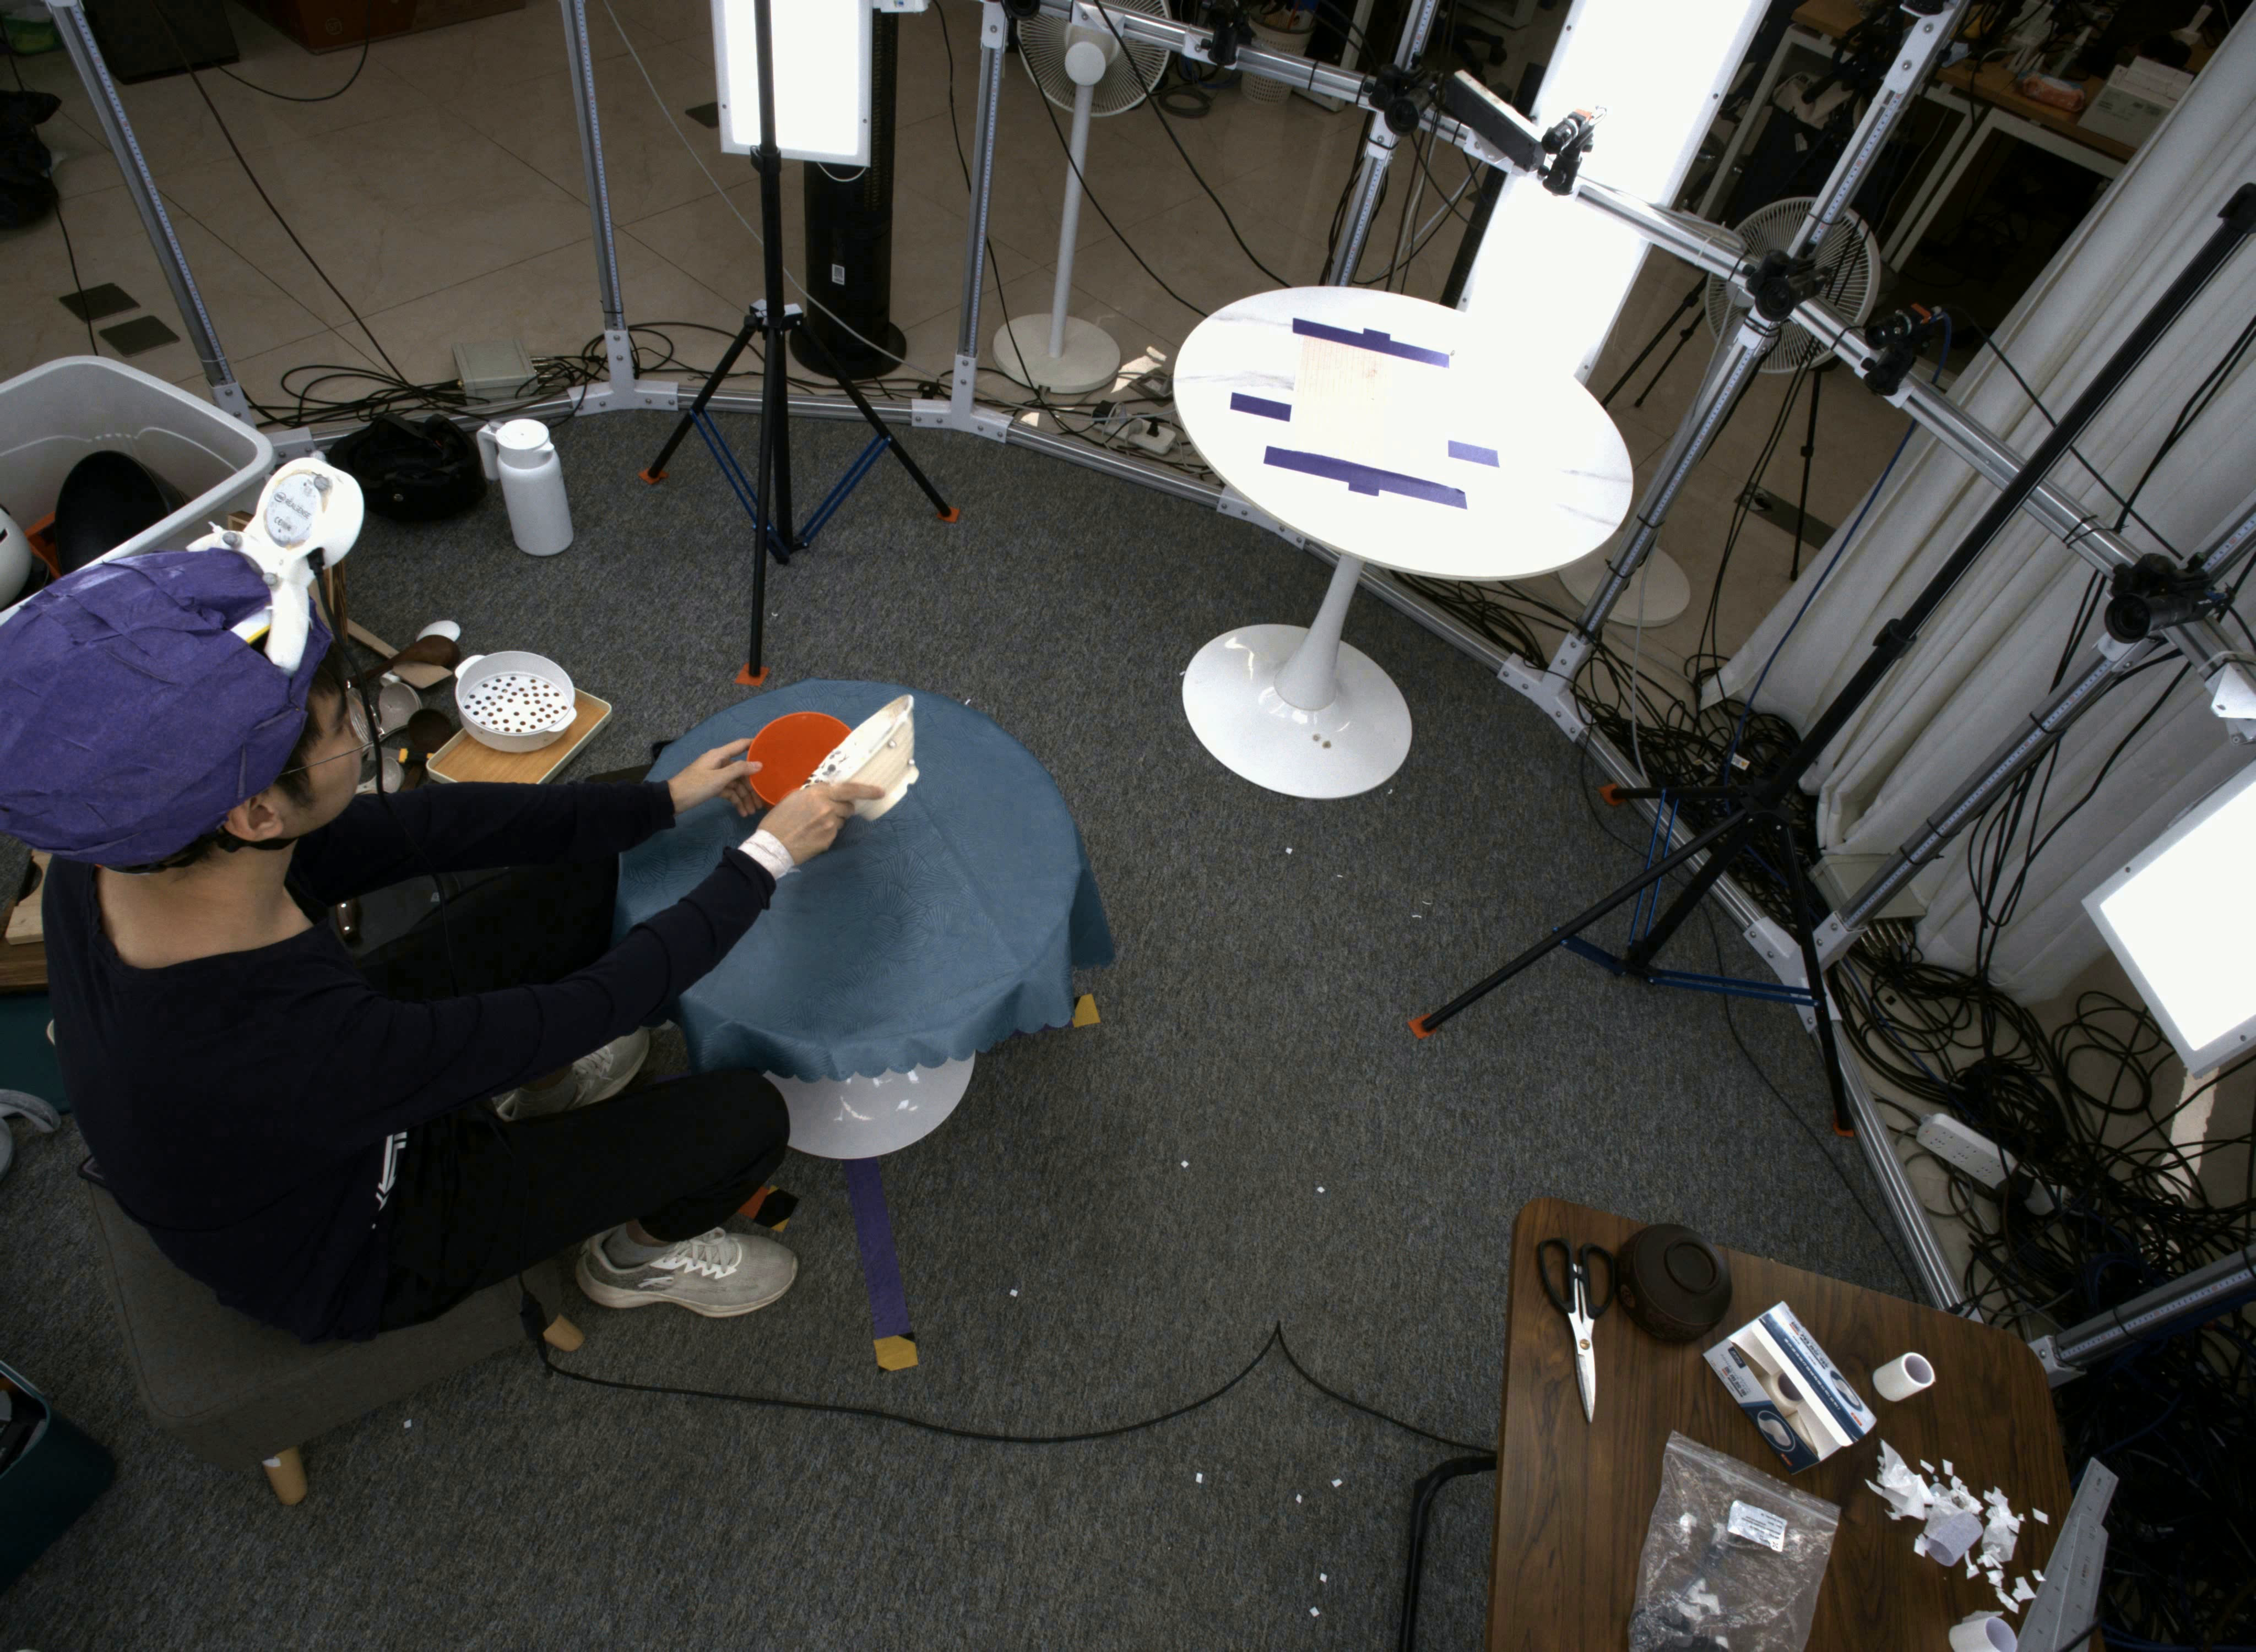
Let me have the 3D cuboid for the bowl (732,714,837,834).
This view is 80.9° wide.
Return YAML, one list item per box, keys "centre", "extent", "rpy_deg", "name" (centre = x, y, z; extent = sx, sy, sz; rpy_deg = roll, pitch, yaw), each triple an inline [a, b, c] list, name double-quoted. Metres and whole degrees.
- centre: [-0.443, -0.057, 1.711]
  extent: [0.147, 0.107, 0.145]
  rpy_deg: [5, 56, -6]
  name: "bowl"

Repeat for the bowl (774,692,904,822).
- centre: [-0.331, -0.064, 1.578]
  extent: [0.080, 0.200, 0.202]
  rpy_deg: [47, 48, -21]
  name: "bowl"
